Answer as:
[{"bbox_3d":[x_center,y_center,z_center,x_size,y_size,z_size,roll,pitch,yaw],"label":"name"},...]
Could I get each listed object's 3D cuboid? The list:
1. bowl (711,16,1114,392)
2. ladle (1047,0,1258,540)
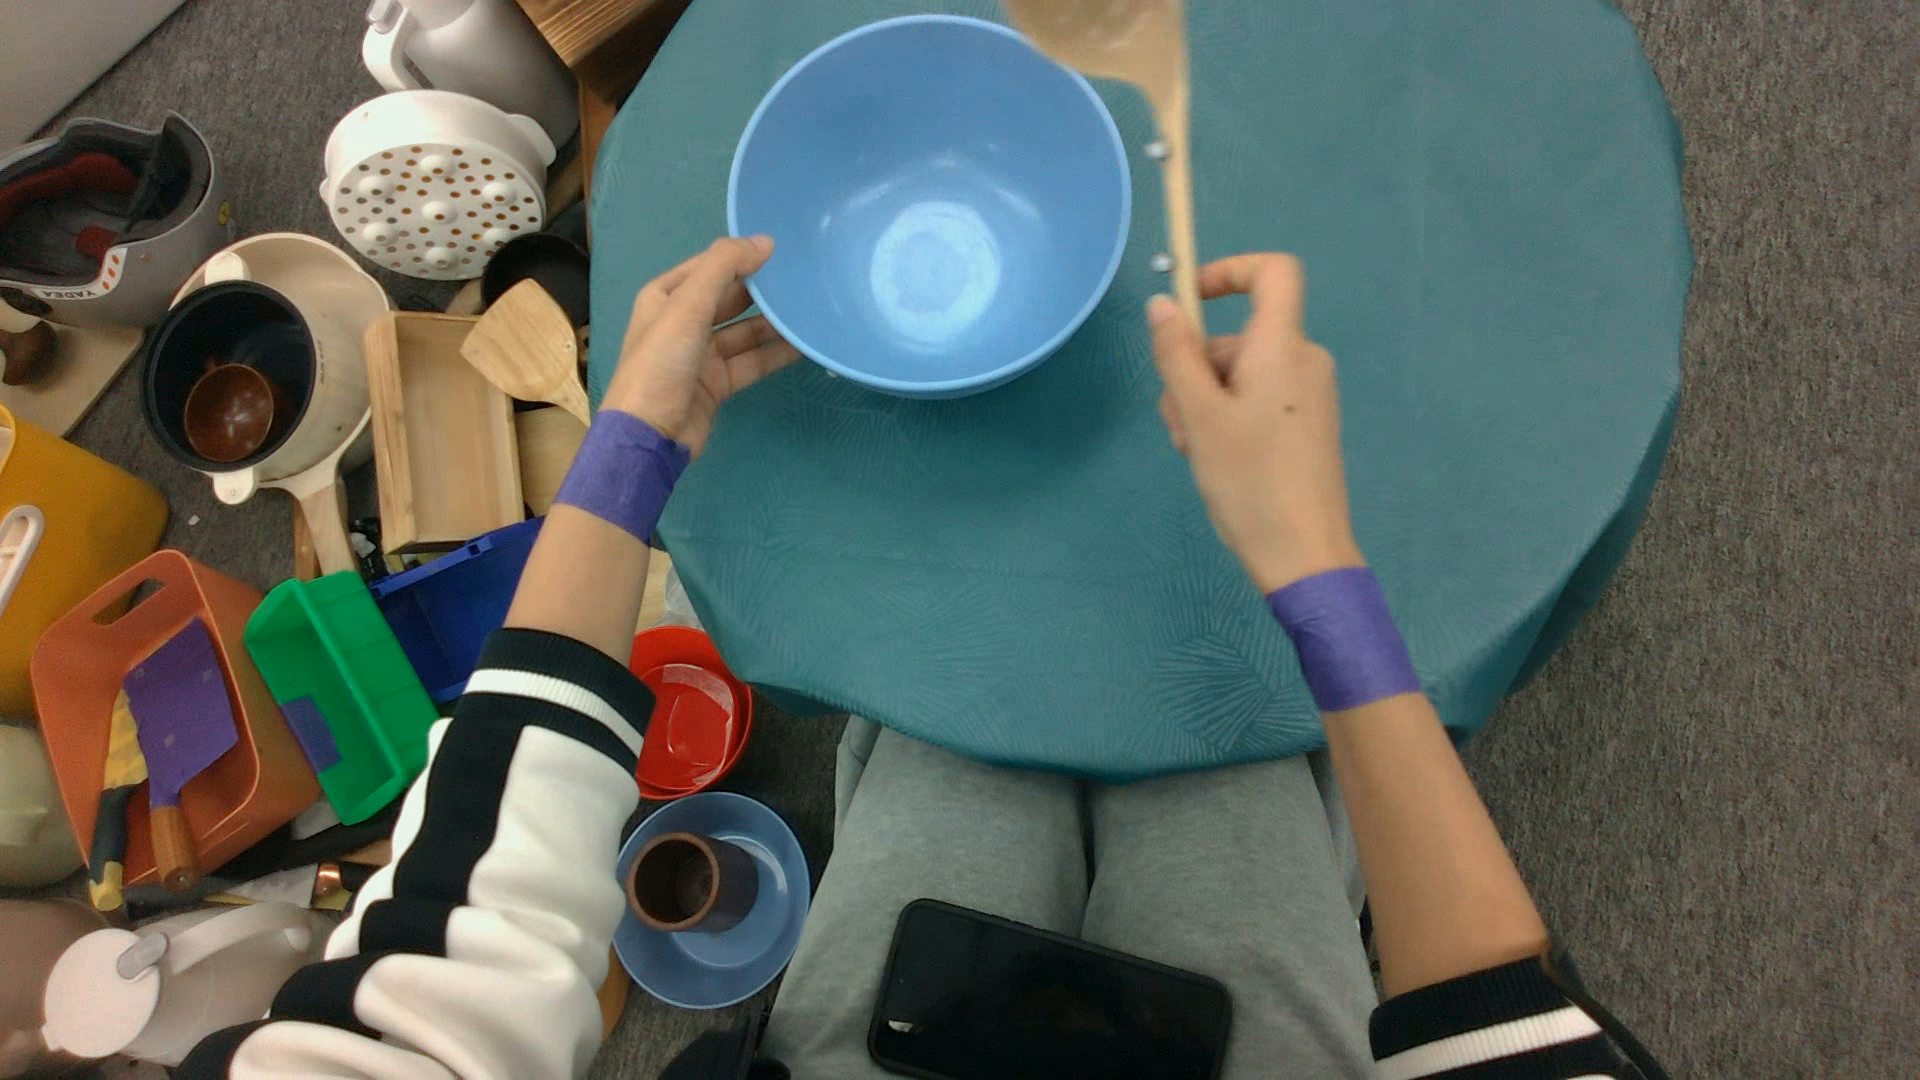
[{"bbox_3d":[-0.022,-0.159,0.713,0.196,0.095,0.197,0,76,1],"label":"bowl"},{"bbox_3d":[0.078,-0.126,0.557,0.073,0.072,0.254,1,82,-32],"label":"ladle"}]
